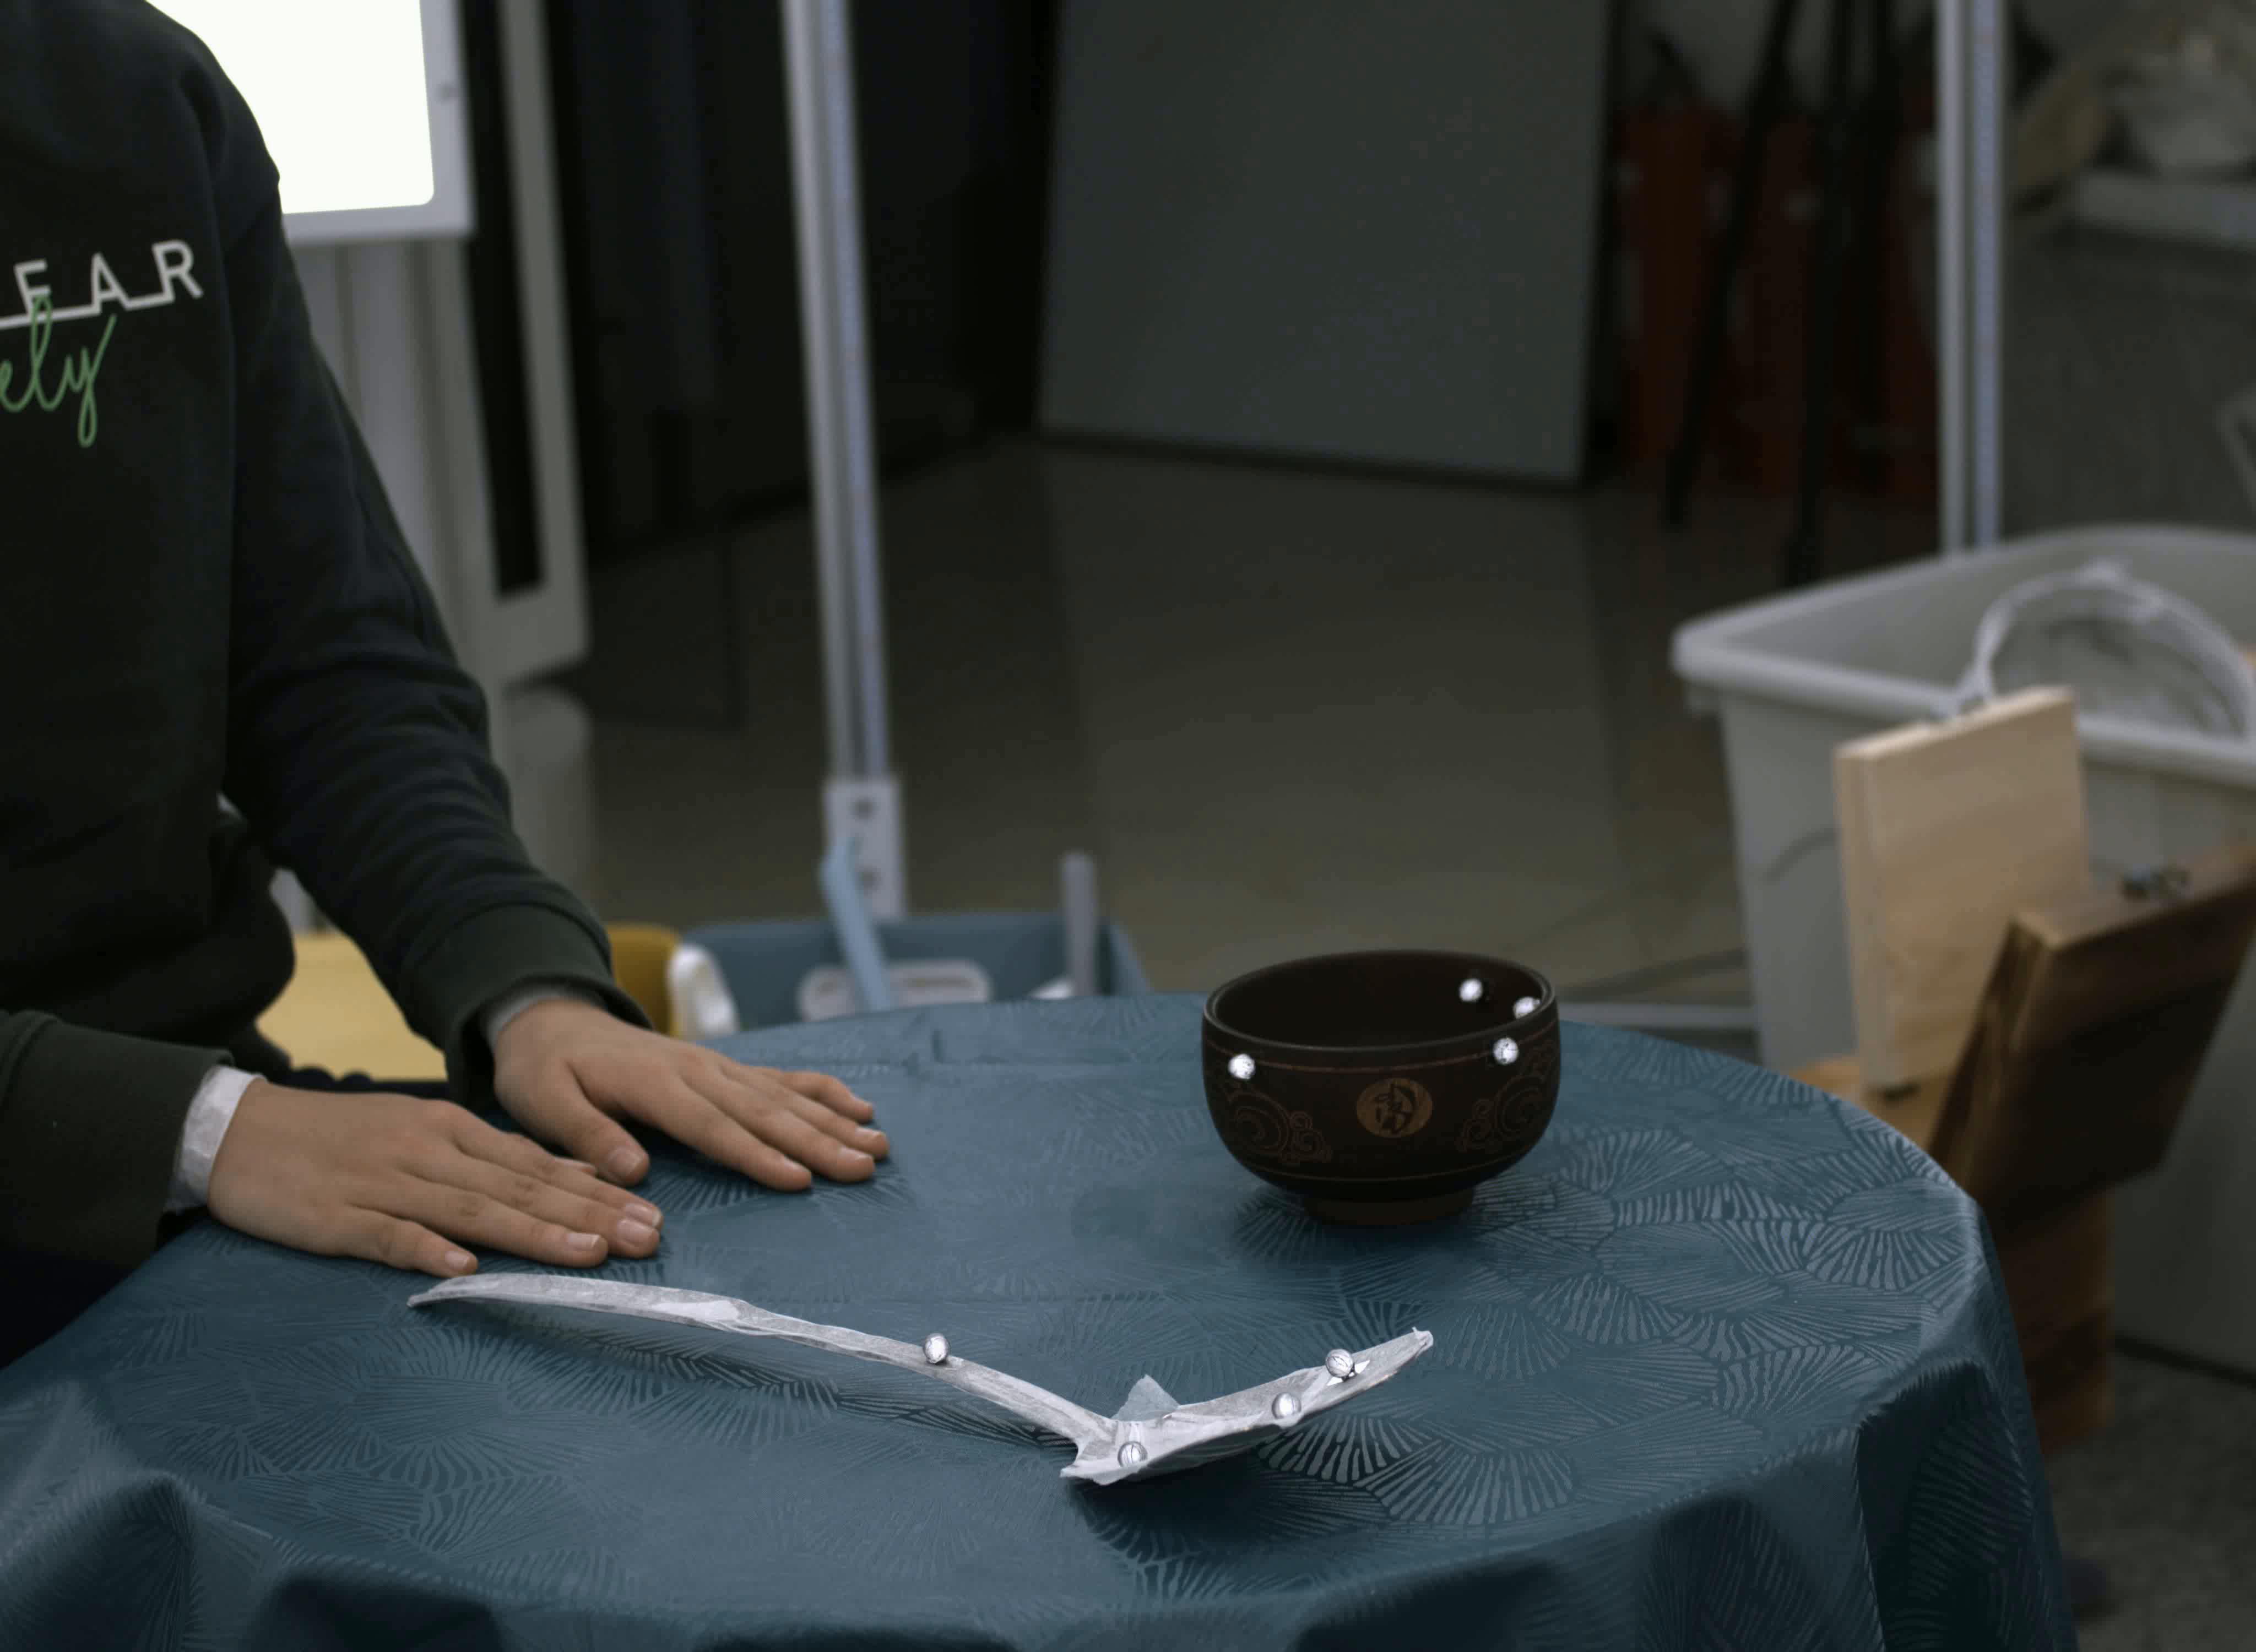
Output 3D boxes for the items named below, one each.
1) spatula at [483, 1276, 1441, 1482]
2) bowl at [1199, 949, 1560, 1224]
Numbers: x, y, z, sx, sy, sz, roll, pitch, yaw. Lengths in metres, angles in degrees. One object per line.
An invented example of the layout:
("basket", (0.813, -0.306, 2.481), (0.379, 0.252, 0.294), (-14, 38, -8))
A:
("spatula", (-0.070, 0.151, 1.591), (0.368, 0.045, 0.097), (8, 20, 39))
("bowl", (0.082, 0.087, 1.736), (0.116, 0.070, 0.118), (-4, 12, 0))
